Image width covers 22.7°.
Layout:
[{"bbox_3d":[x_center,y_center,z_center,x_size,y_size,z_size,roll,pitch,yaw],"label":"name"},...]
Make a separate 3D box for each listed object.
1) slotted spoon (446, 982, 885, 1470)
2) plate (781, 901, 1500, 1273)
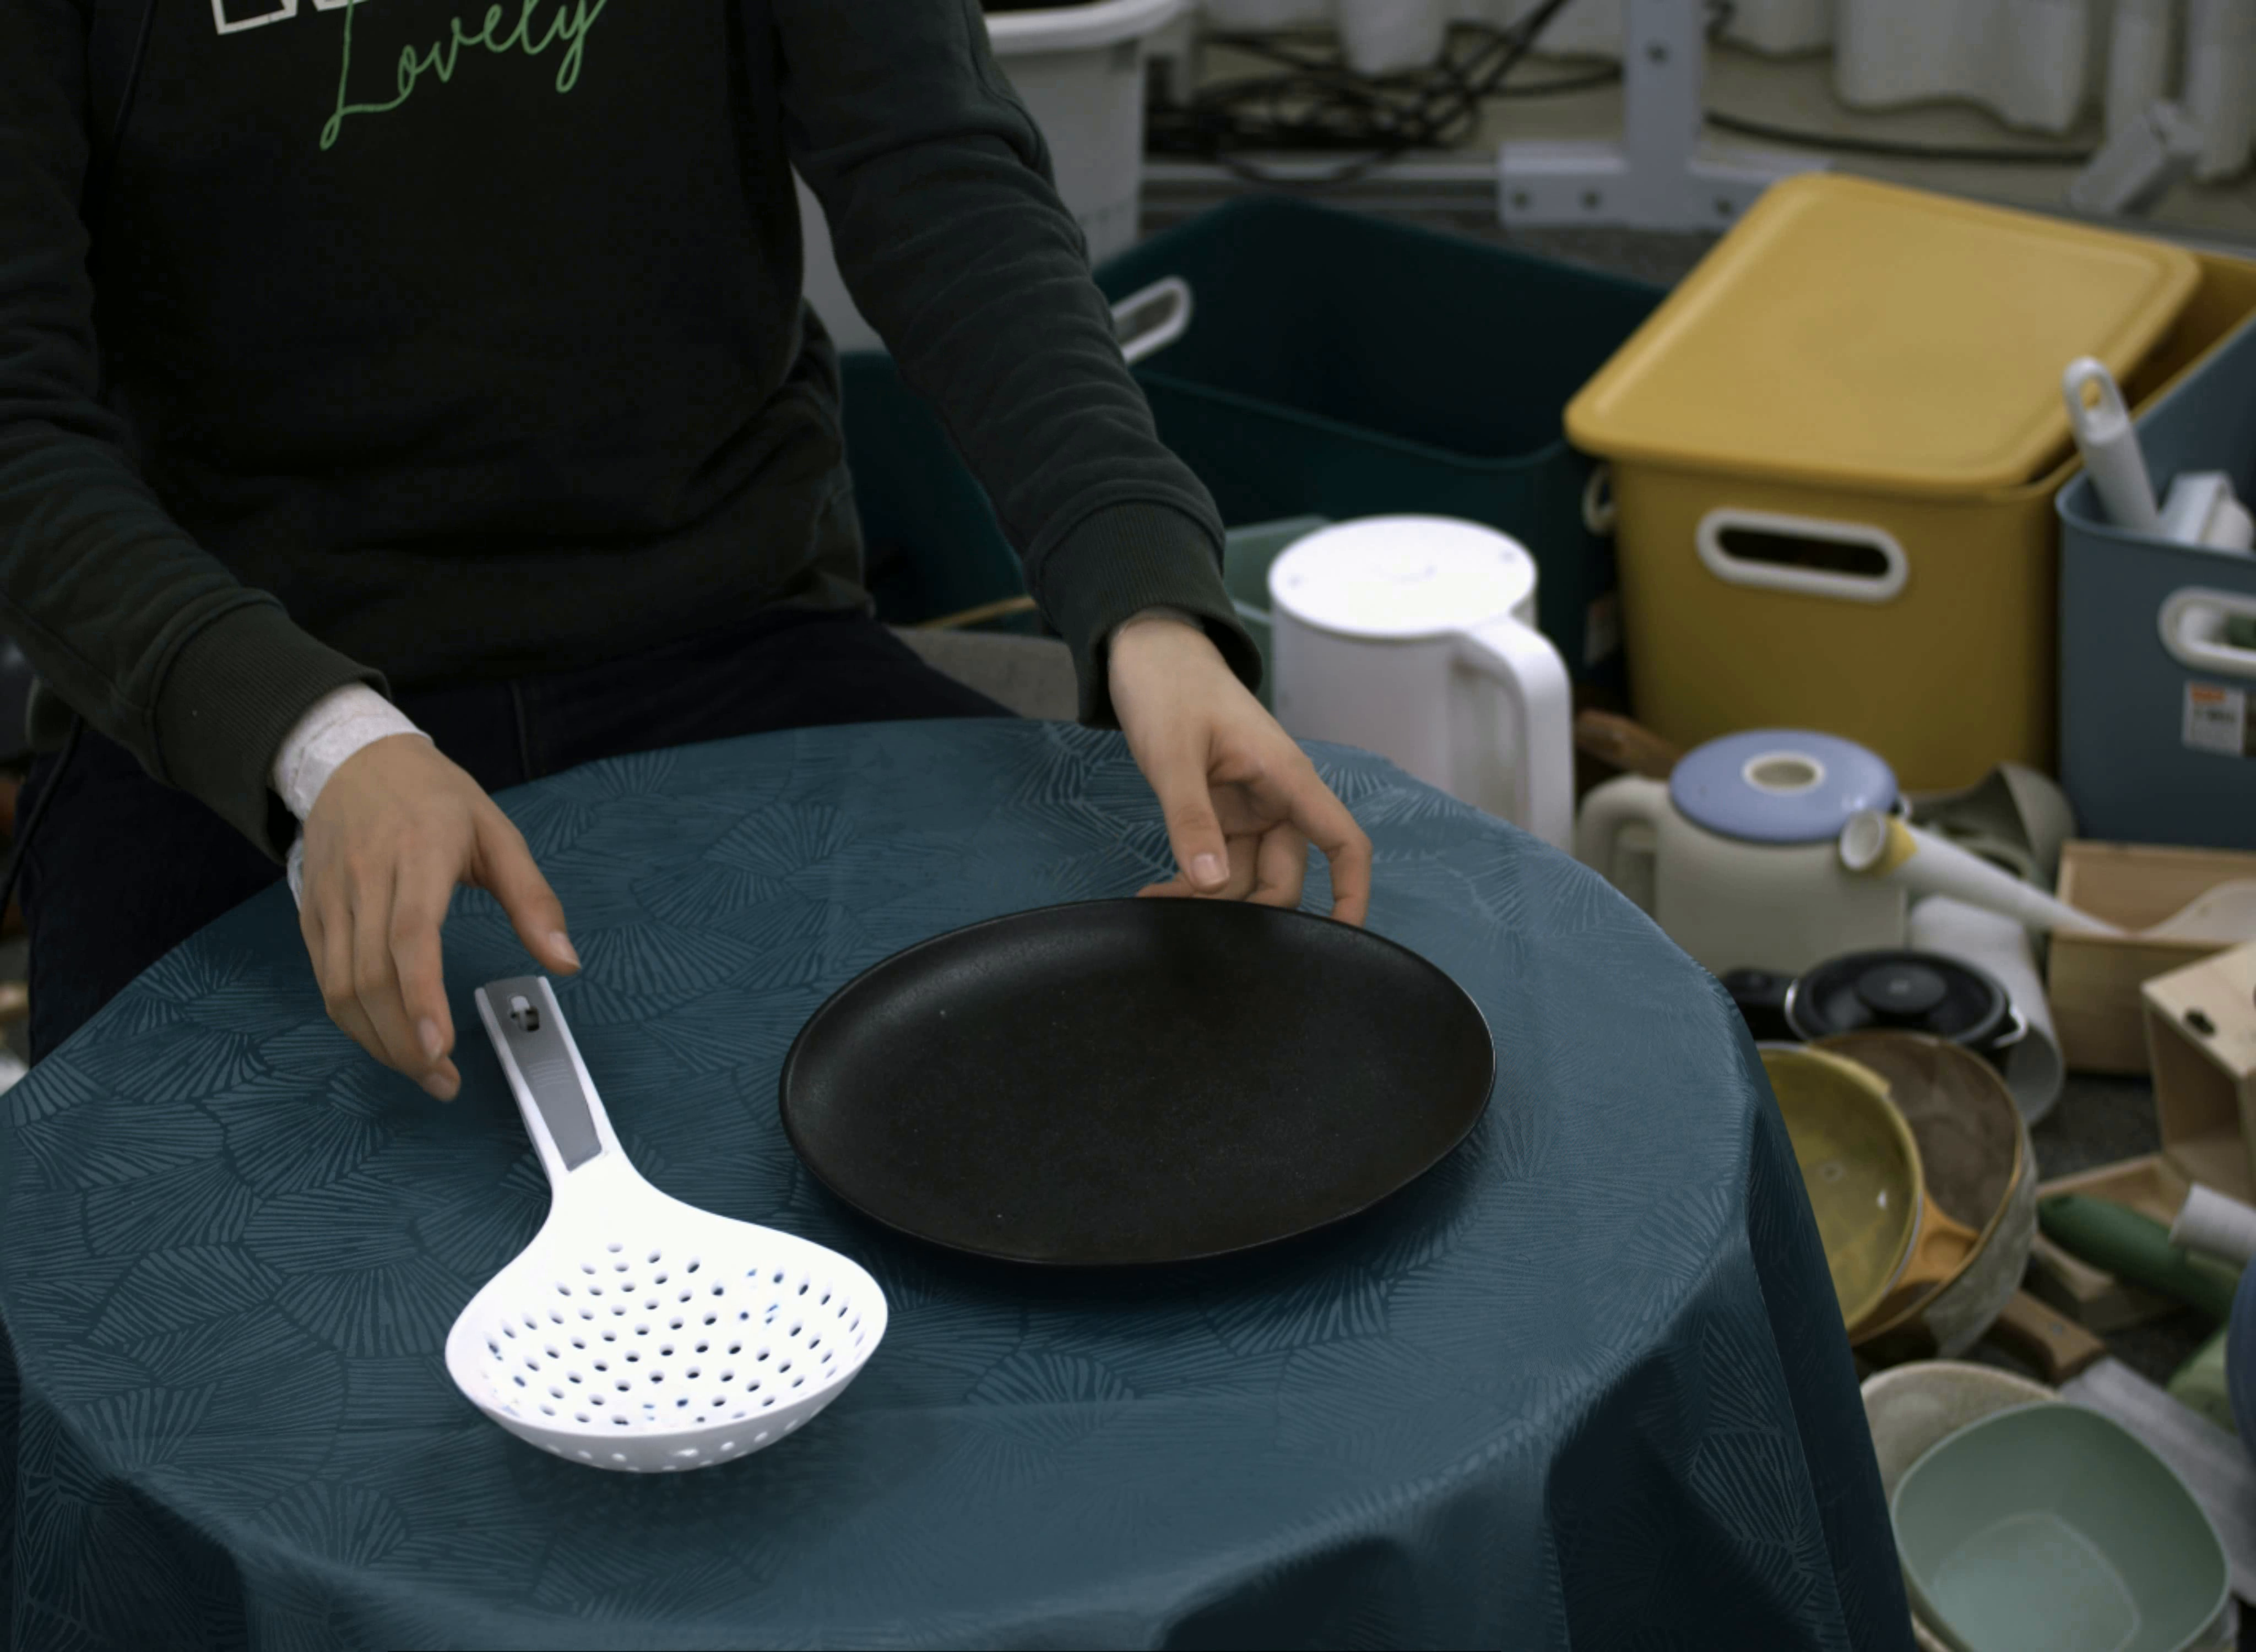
[{"bbox_3d":[-0.171,0.123,1.826,0.136,0.045,0.353,-8,27,-13],"label":"slotted spoon"},{"bbox_3d":[0.004,0.092,1.894,0.243,0.023,0.248,-2,27,2],"label":"plate"}]
